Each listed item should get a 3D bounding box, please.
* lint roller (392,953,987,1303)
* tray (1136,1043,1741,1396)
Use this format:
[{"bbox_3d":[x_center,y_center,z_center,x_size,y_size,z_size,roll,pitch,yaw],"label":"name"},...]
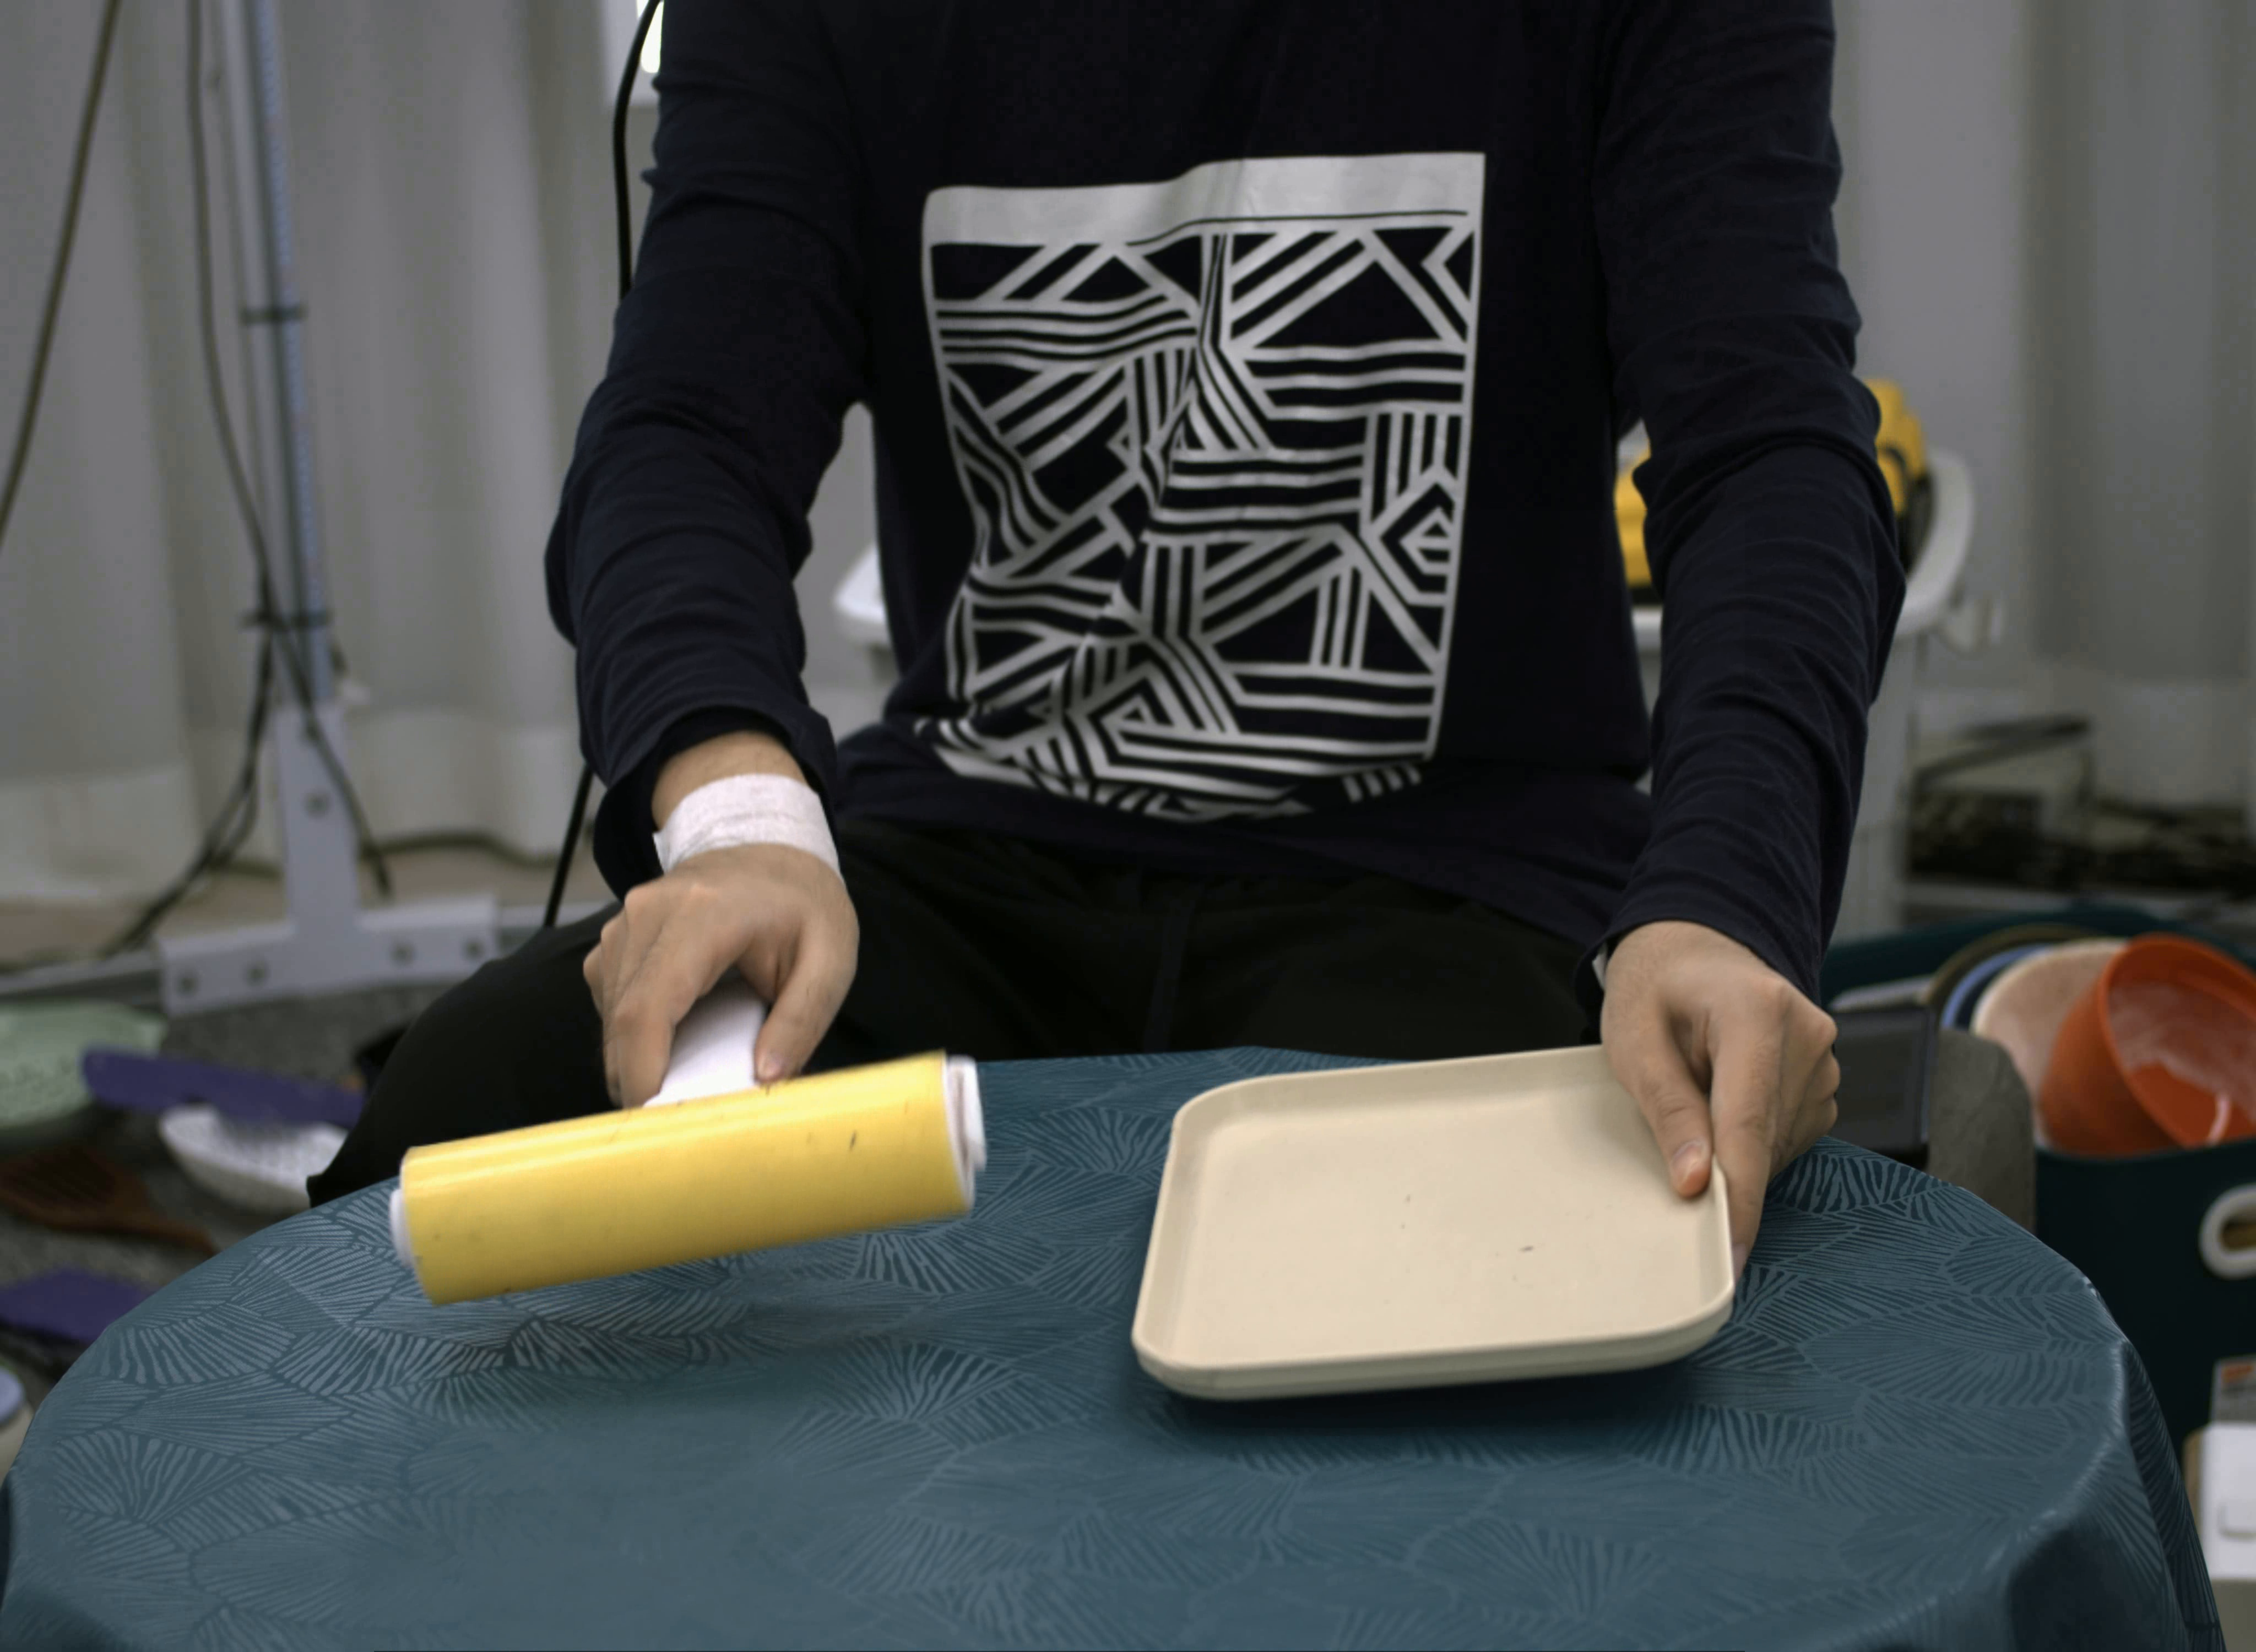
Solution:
[{"bbox_3d":[-0.132,0.071,1.657,0.174,0.051,0.194,-11,27,2],"label":"lint roller"},{"bbox_3d":[0.092,0.115,1.608,0.171,0.017,0.241,-5,16,6],"label":"tray"}]
